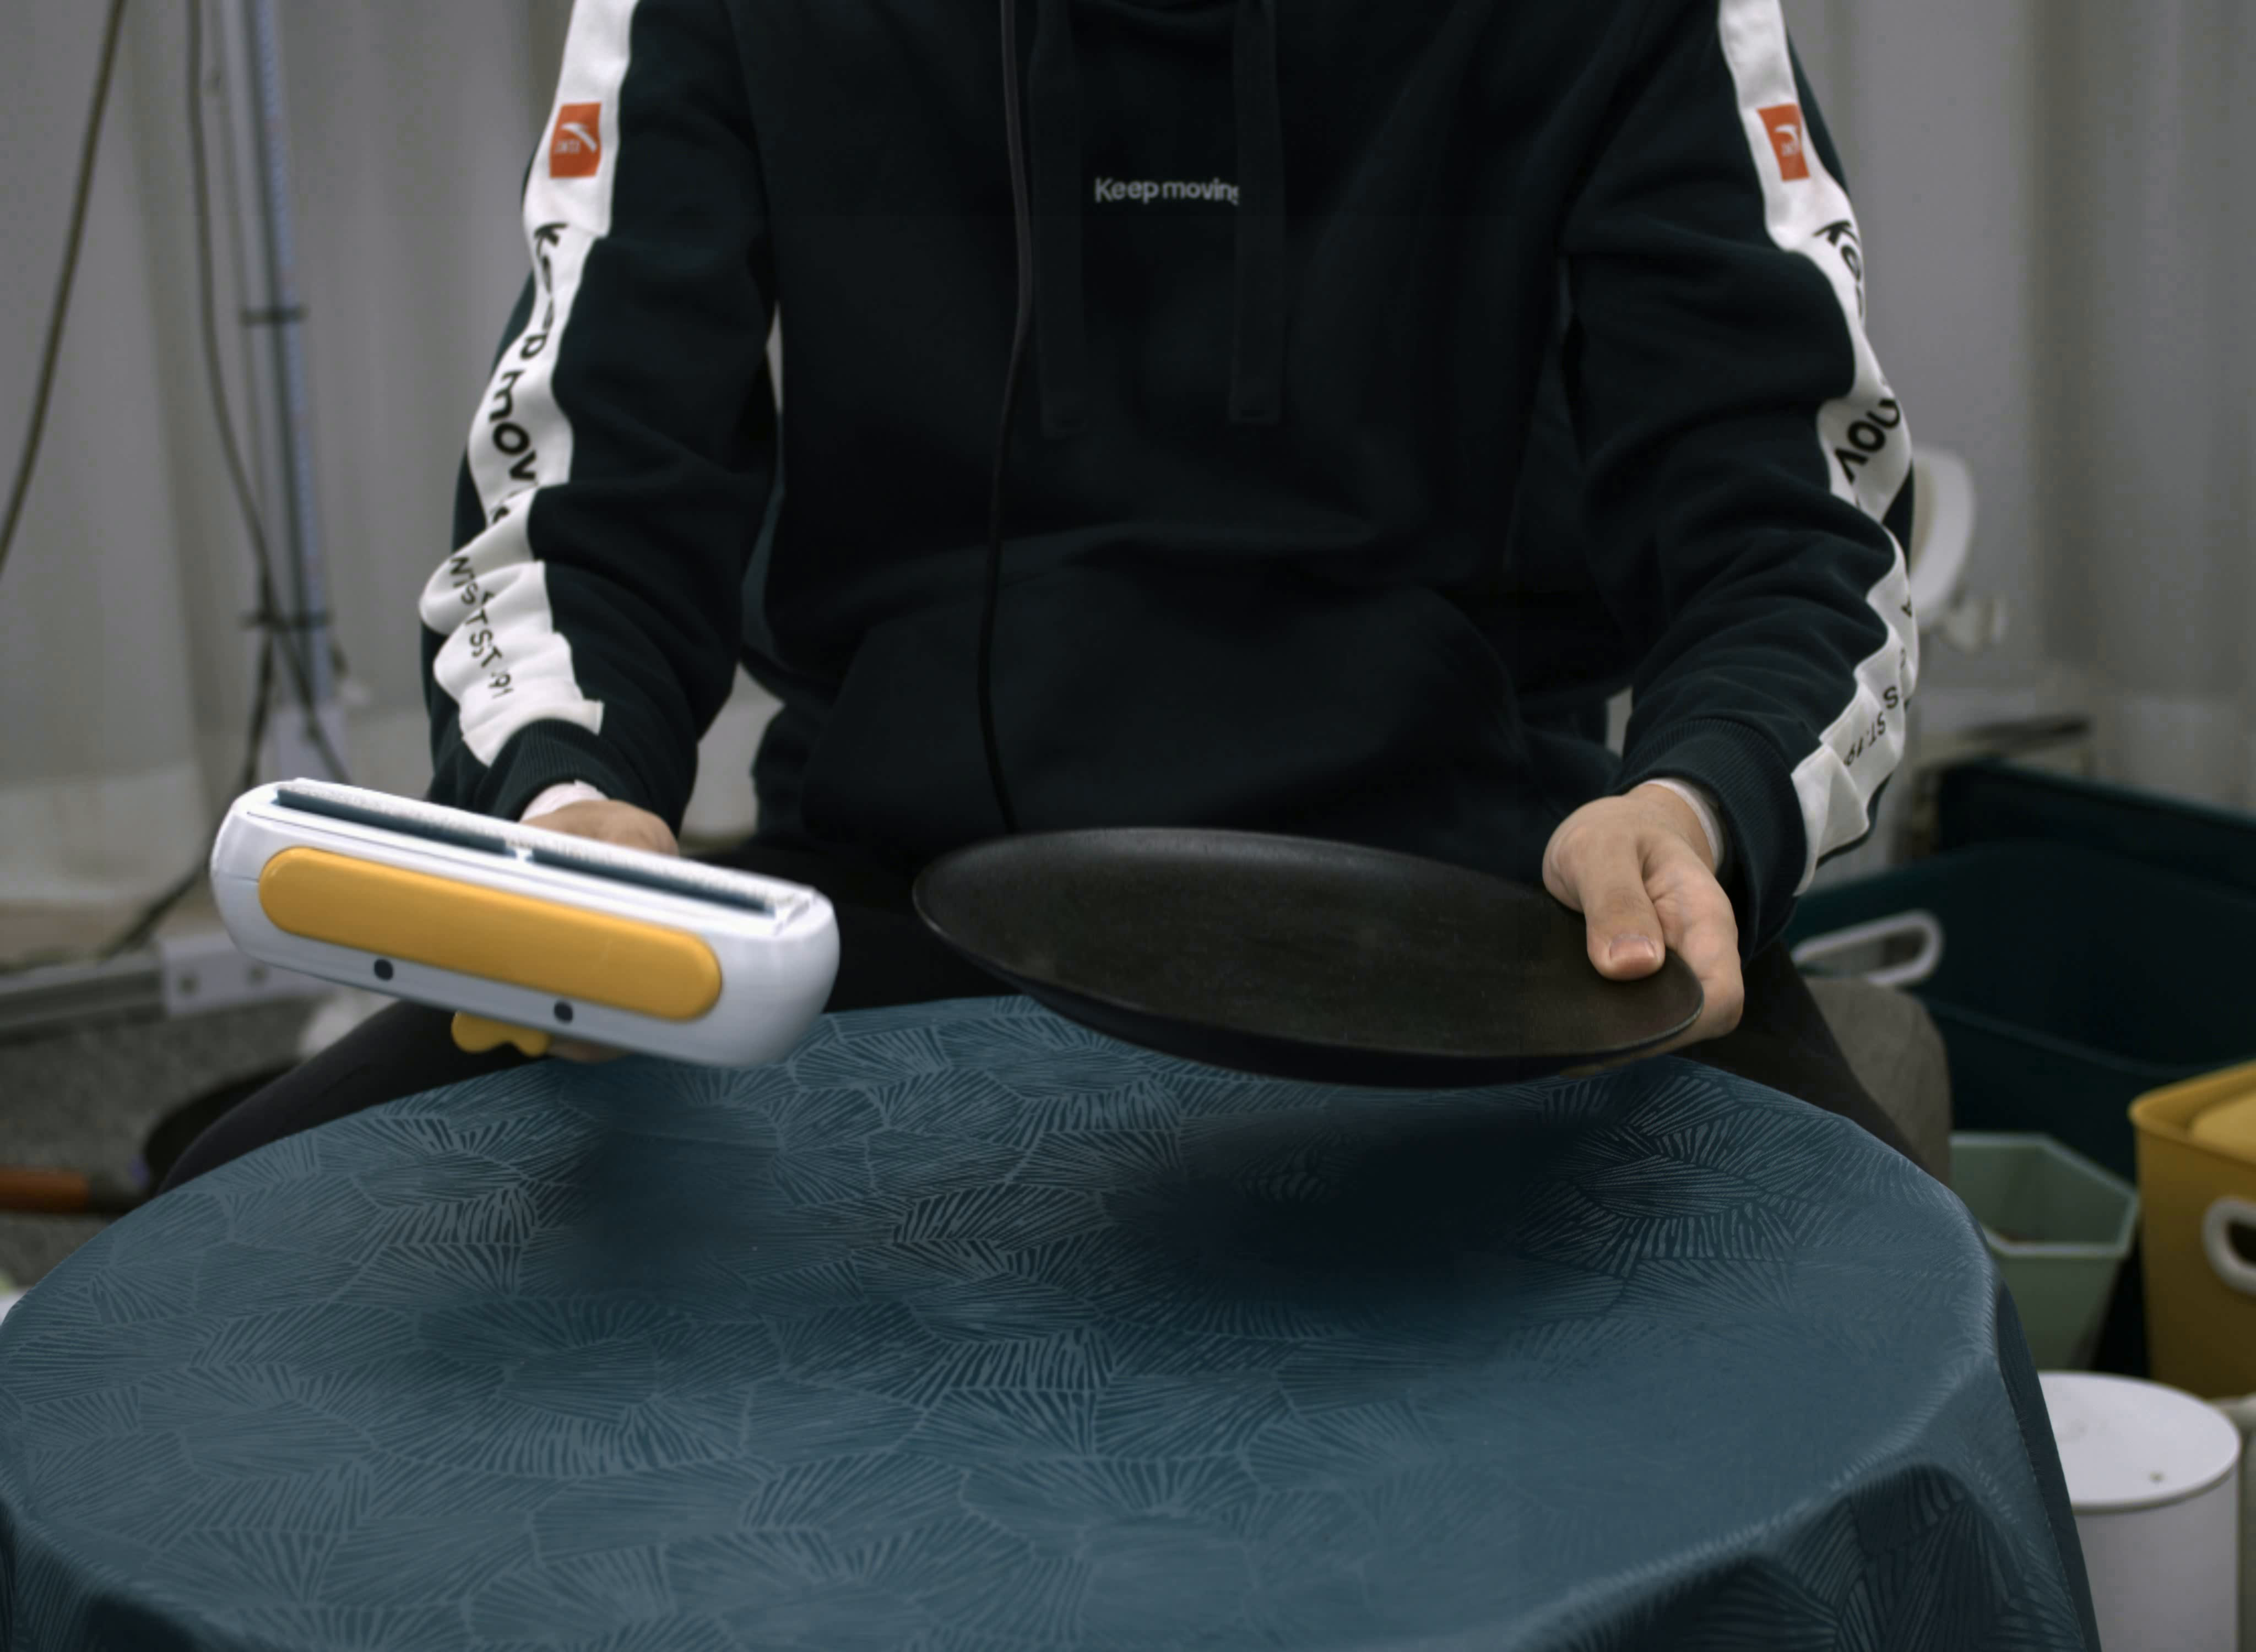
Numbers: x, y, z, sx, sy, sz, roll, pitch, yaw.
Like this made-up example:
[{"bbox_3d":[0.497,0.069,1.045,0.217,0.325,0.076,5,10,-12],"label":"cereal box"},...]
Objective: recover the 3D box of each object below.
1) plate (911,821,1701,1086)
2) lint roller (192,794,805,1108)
[{"bbox_3d":[0.053,0.042,1.673,0.243,0.023,0.246,7,14,-2],"label":"plate"},{"bbox_3d":[-0.175,0.048,1.702,0.193,0.074,0.191,9,-7,18],"label":"lint roller"}]
